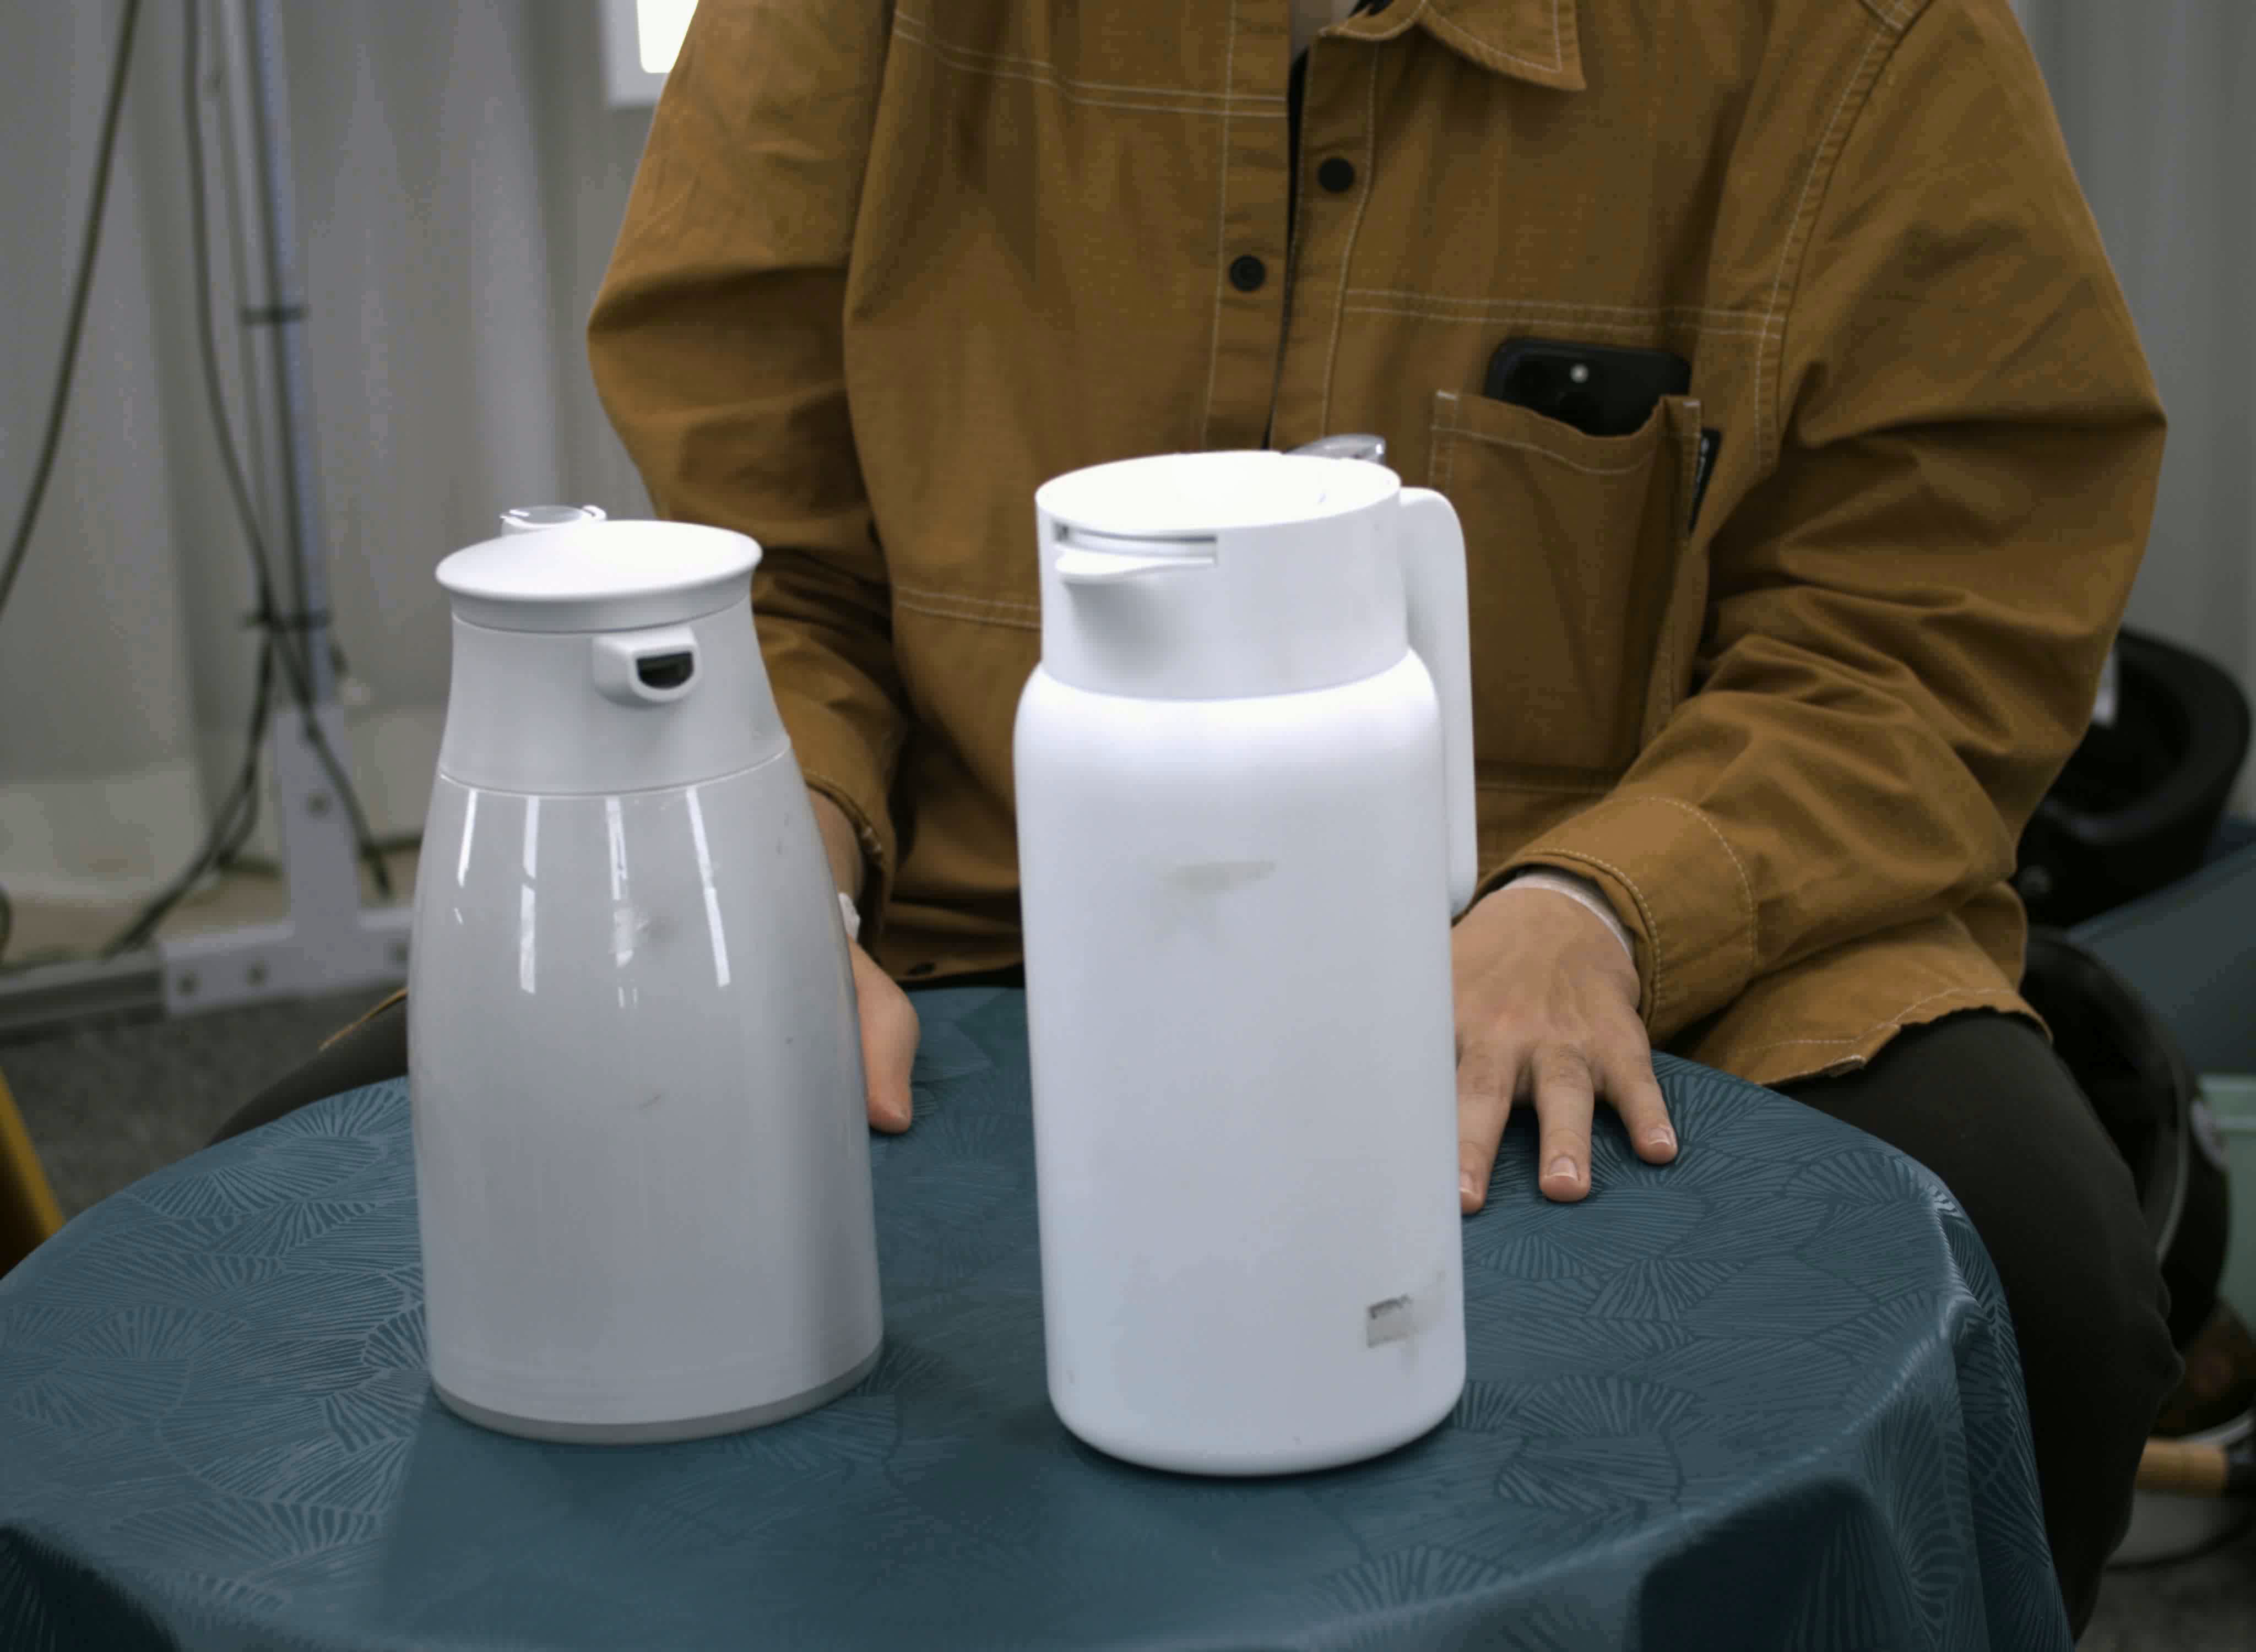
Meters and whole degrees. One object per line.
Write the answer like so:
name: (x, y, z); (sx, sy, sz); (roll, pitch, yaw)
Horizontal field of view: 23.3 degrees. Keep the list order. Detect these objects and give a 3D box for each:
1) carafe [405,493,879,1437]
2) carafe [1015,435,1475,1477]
carafe: (-0.150, 0.031, 1.572); (0.132, 0.248, 0.169); (-7, 13, -20)
carafe: (0.039, 0.031, 1.506); (0.124, 0.268, 0.173); (4, 15, 34)
